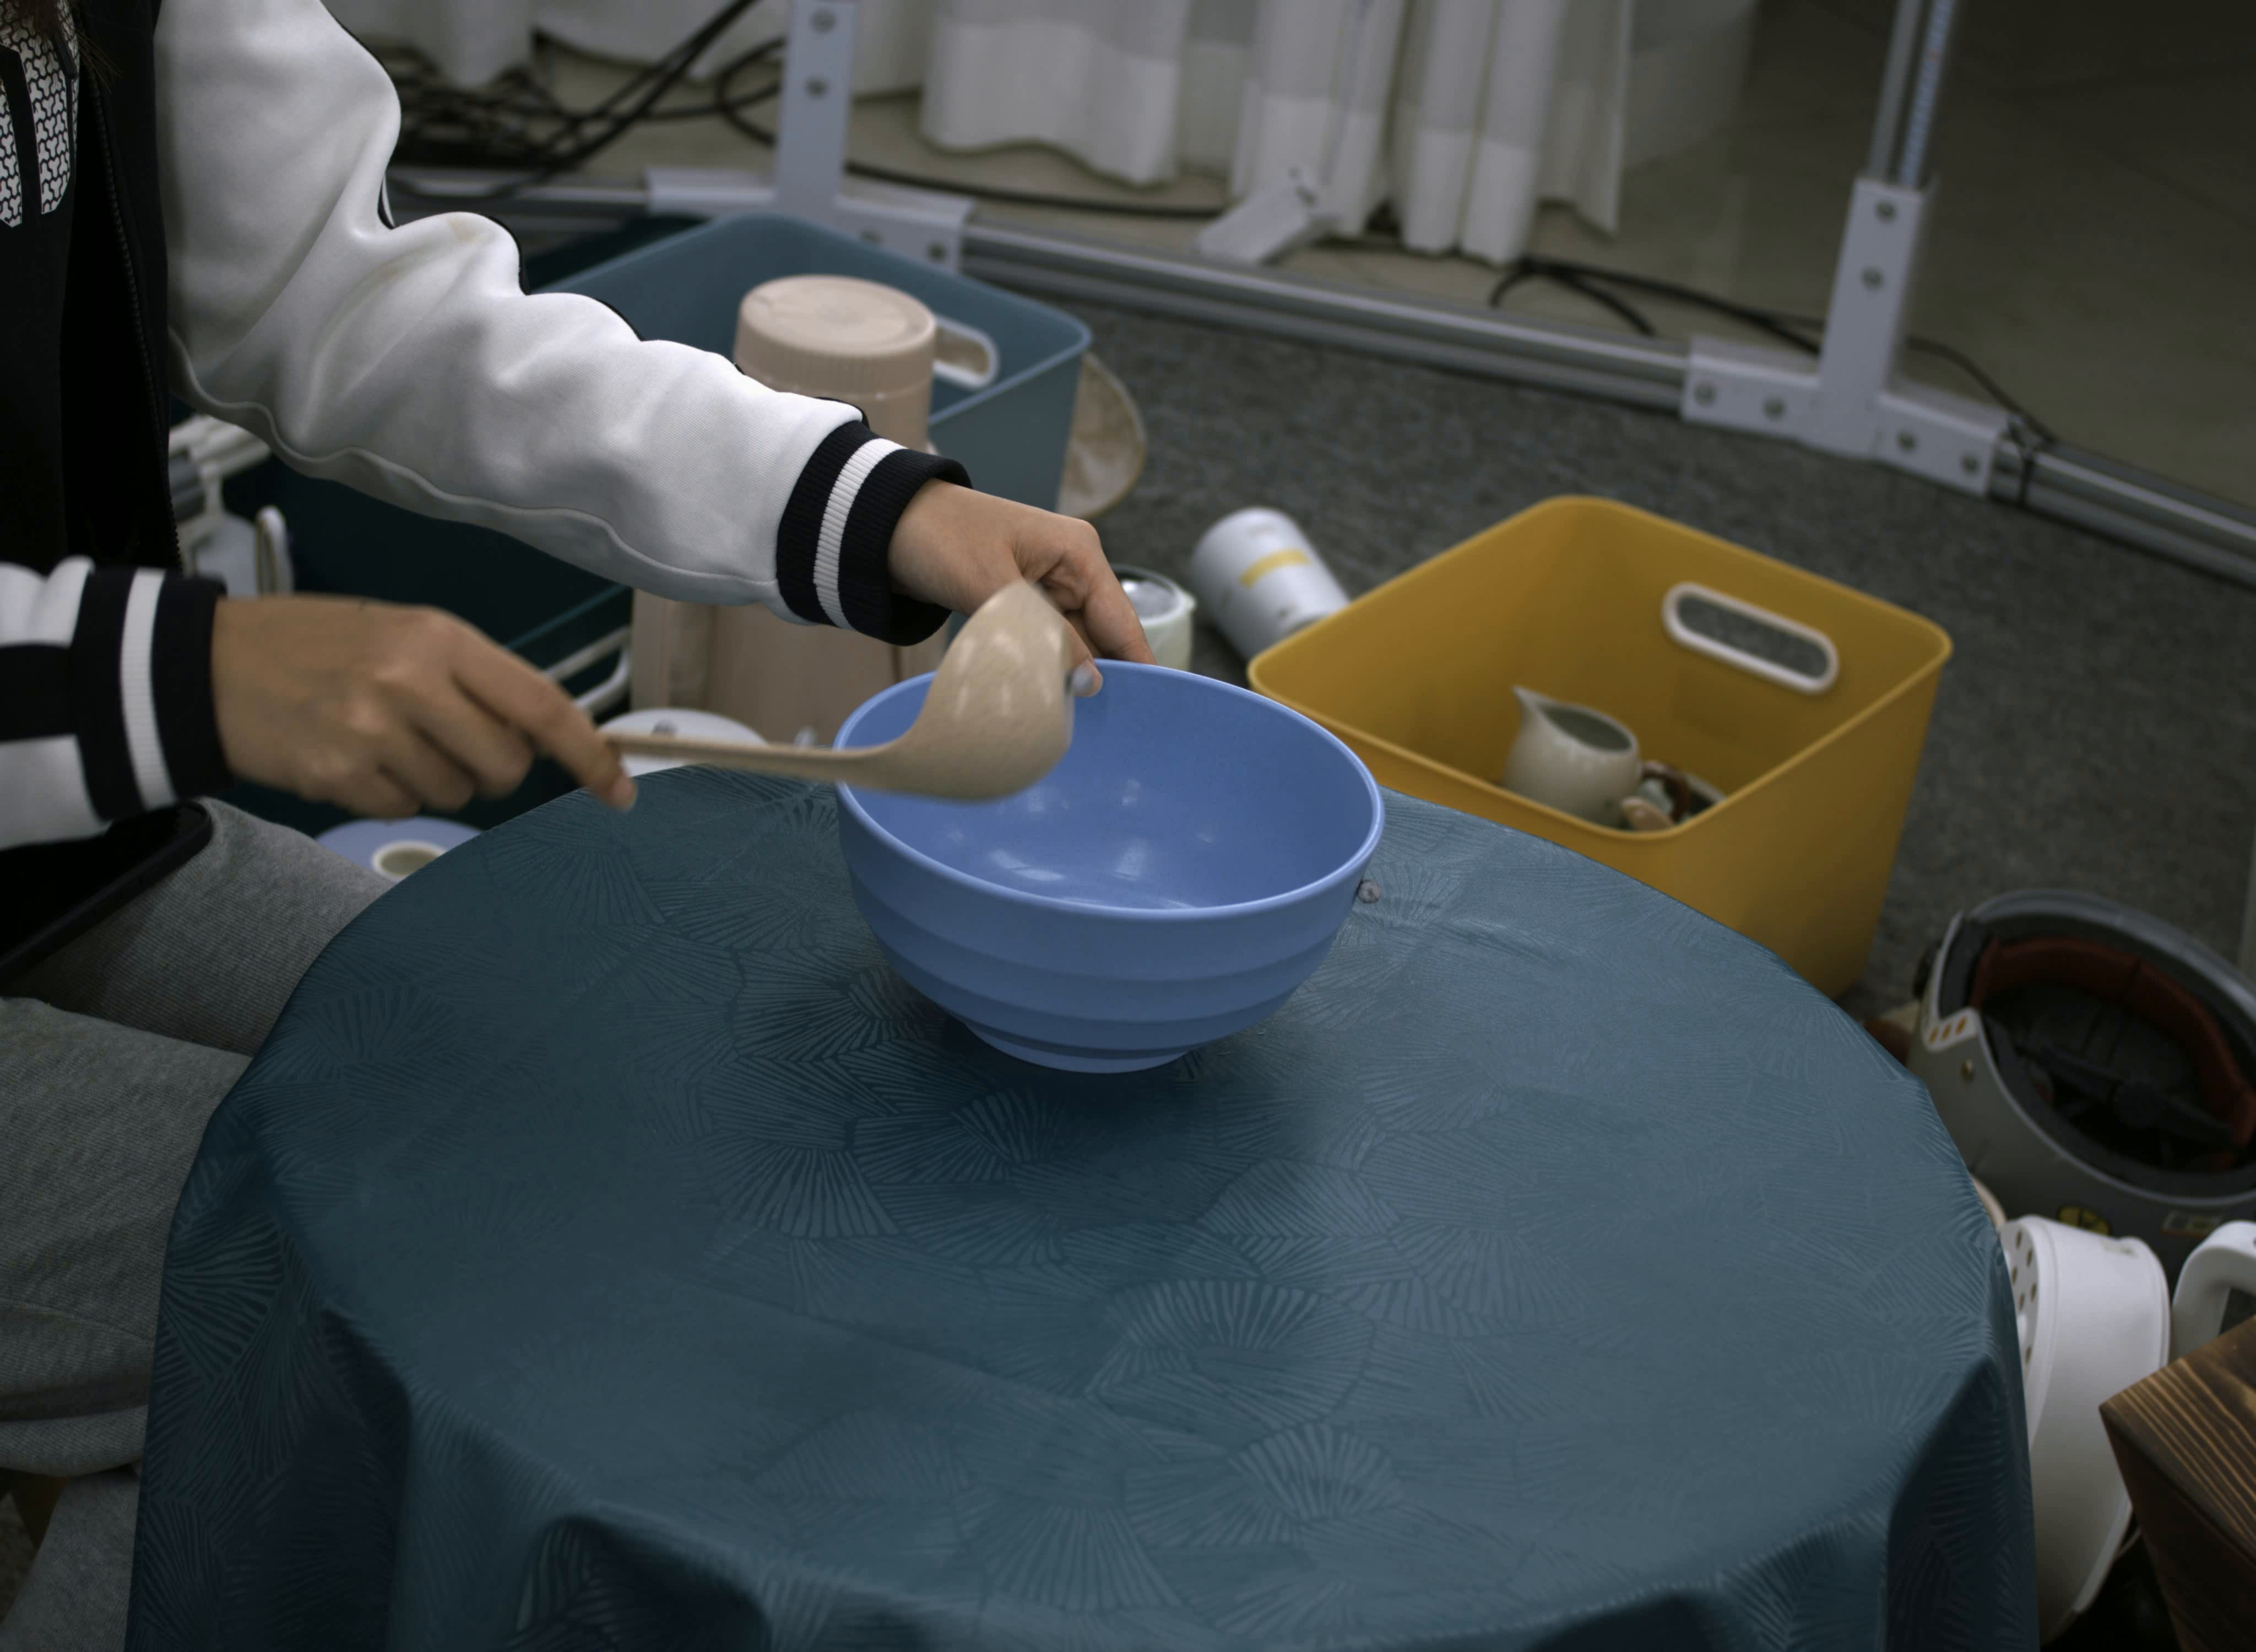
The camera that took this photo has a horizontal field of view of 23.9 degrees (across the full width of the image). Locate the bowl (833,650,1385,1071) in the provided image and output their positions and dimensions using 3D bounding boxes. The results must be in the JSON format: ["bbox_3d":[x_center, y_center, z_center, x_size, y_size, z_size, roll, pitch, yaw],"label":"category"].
[{"bbox_3d":[-0.013,0.024,1.890,0.196,0.095,0.198,7,27,-4],"label":"bowl"}]

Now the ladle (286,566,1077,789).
[{"bbox_3d":[-0.142,-0.054,1.720,0.254,0.071,0.073,4,60,7],"label":"ladle"}]
